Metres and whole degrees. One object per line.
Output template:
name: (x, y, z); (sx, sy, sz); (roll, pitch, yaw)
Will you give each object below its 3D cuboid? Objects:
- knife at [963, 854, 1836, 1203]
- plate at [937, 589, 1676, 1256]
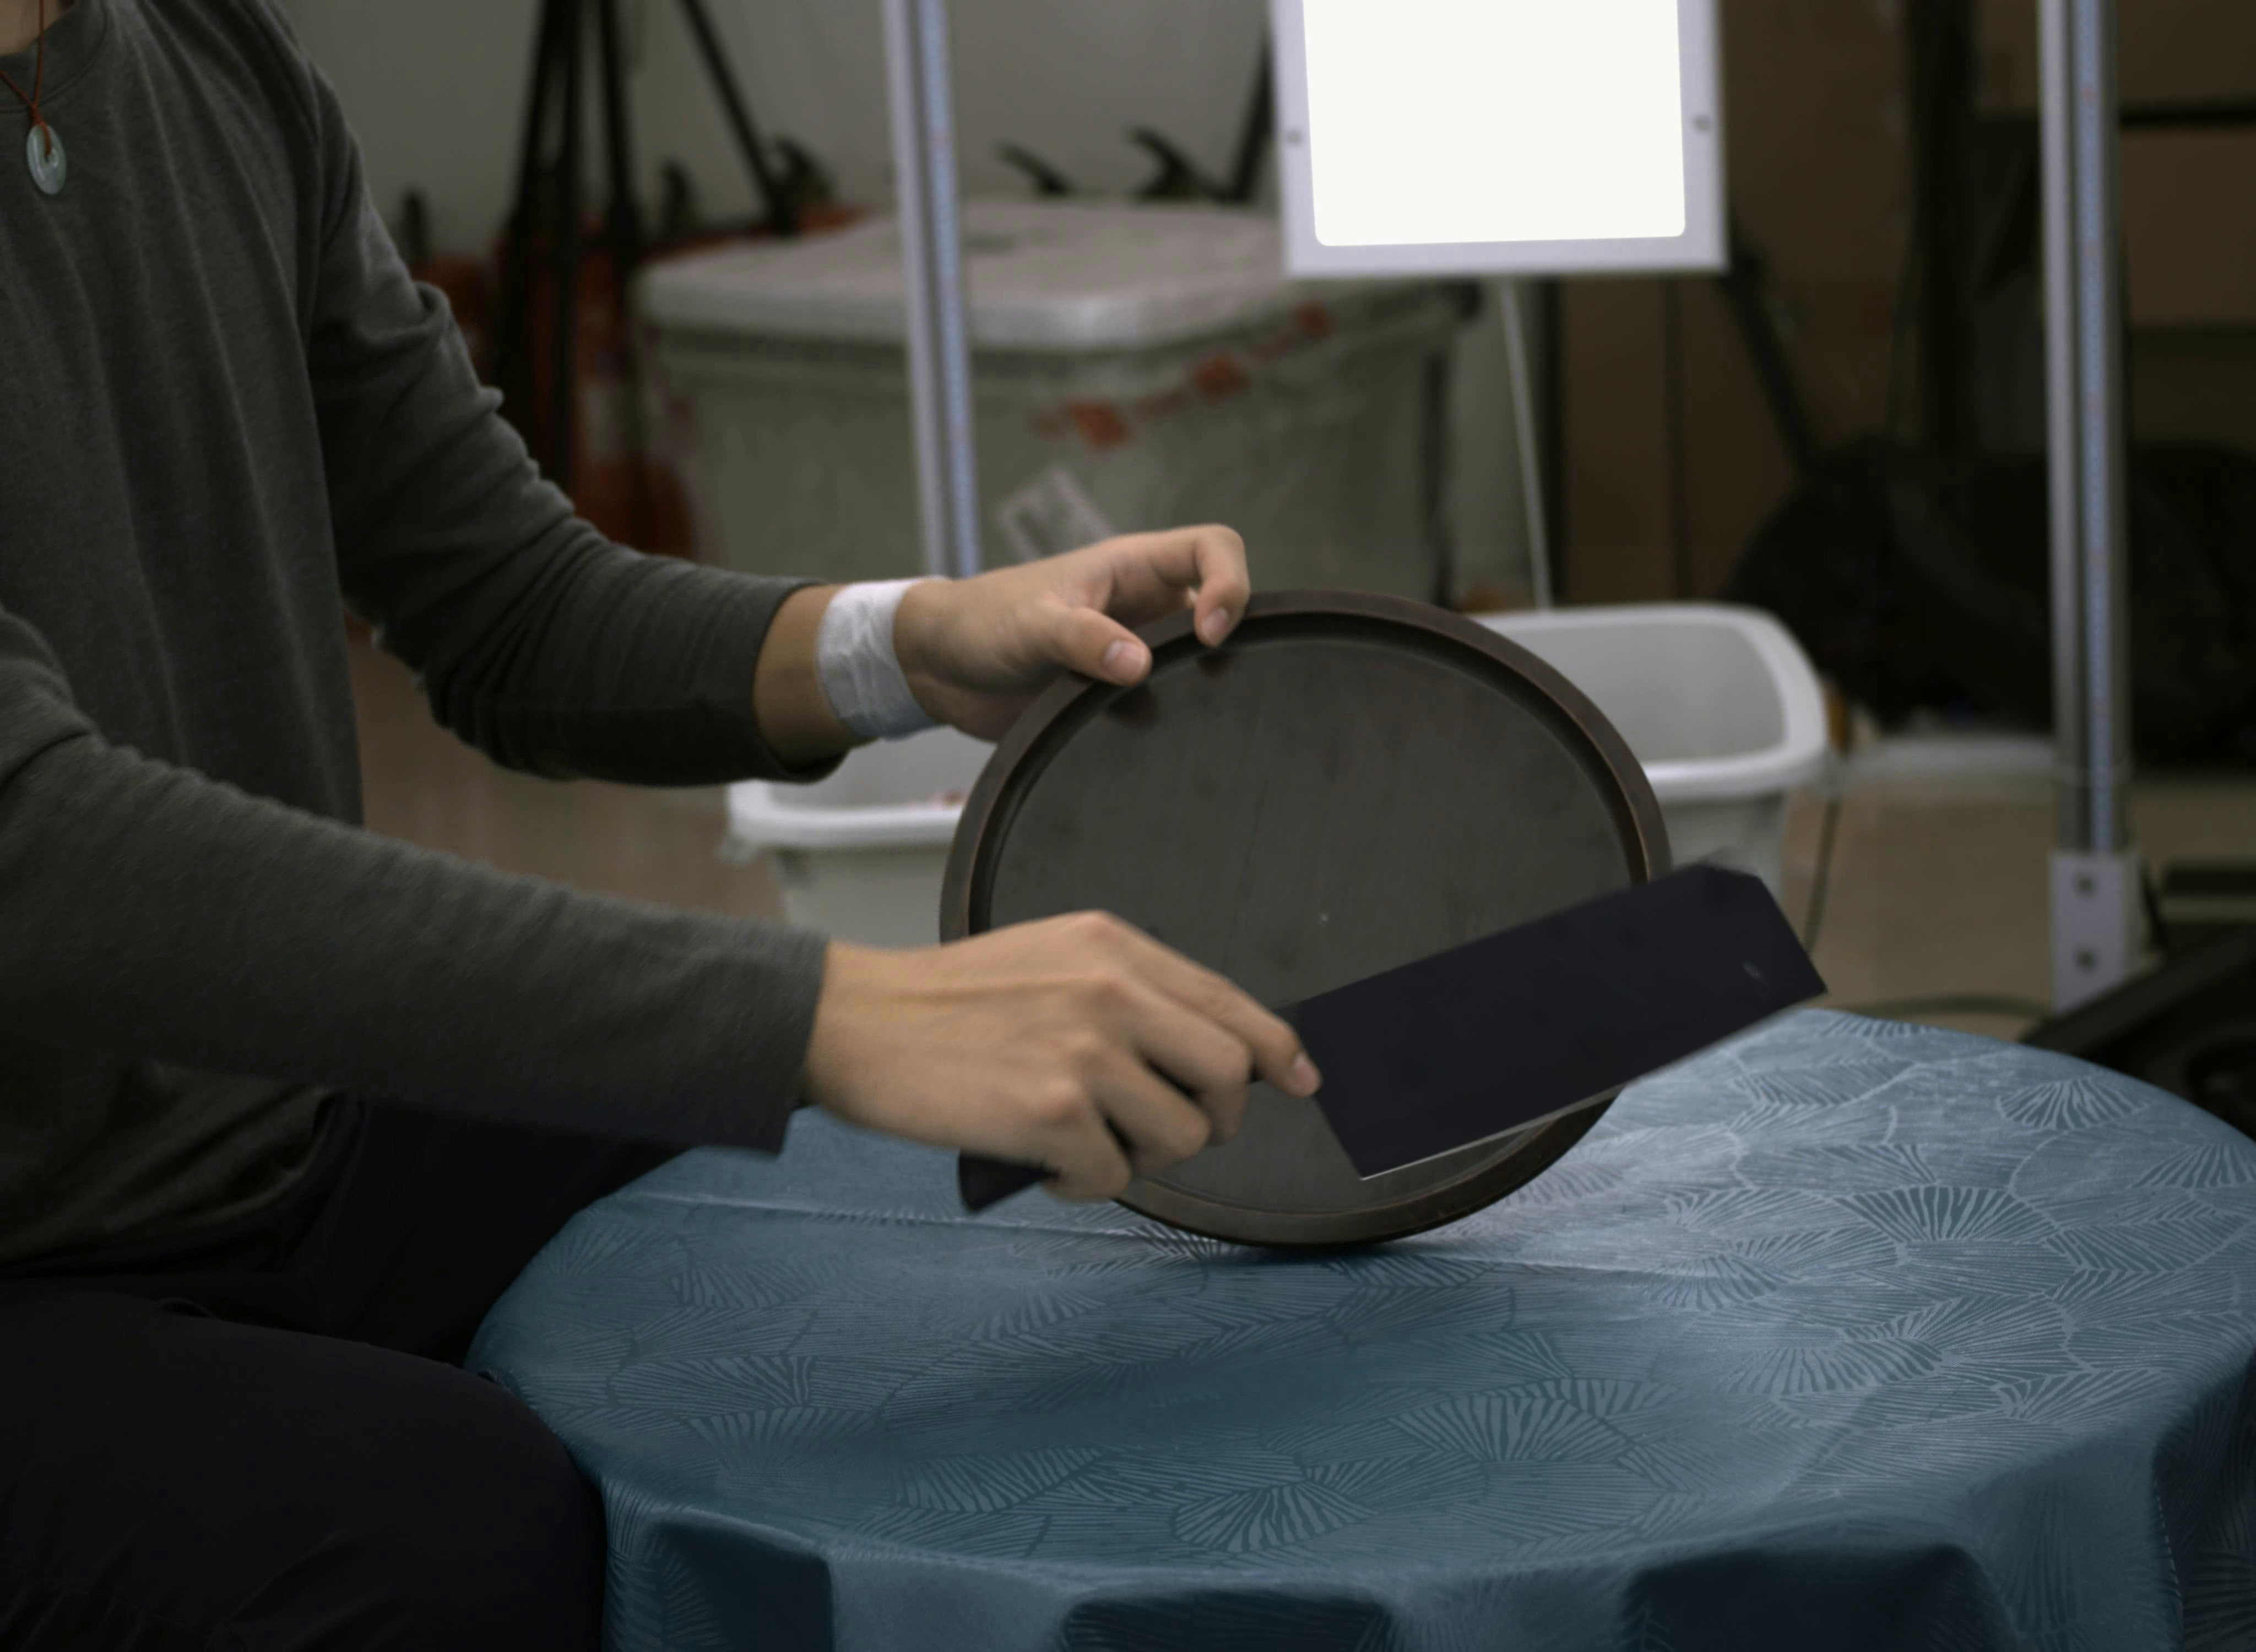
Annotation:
knife: (0.086, 0.072, 1.748); (0.297, 0.081, 0.021); (-13, -29, -17)
plate: (0.061, 0.032, 1.876); (0.255, 0.254, 0.029); (-4, -26, 4)
